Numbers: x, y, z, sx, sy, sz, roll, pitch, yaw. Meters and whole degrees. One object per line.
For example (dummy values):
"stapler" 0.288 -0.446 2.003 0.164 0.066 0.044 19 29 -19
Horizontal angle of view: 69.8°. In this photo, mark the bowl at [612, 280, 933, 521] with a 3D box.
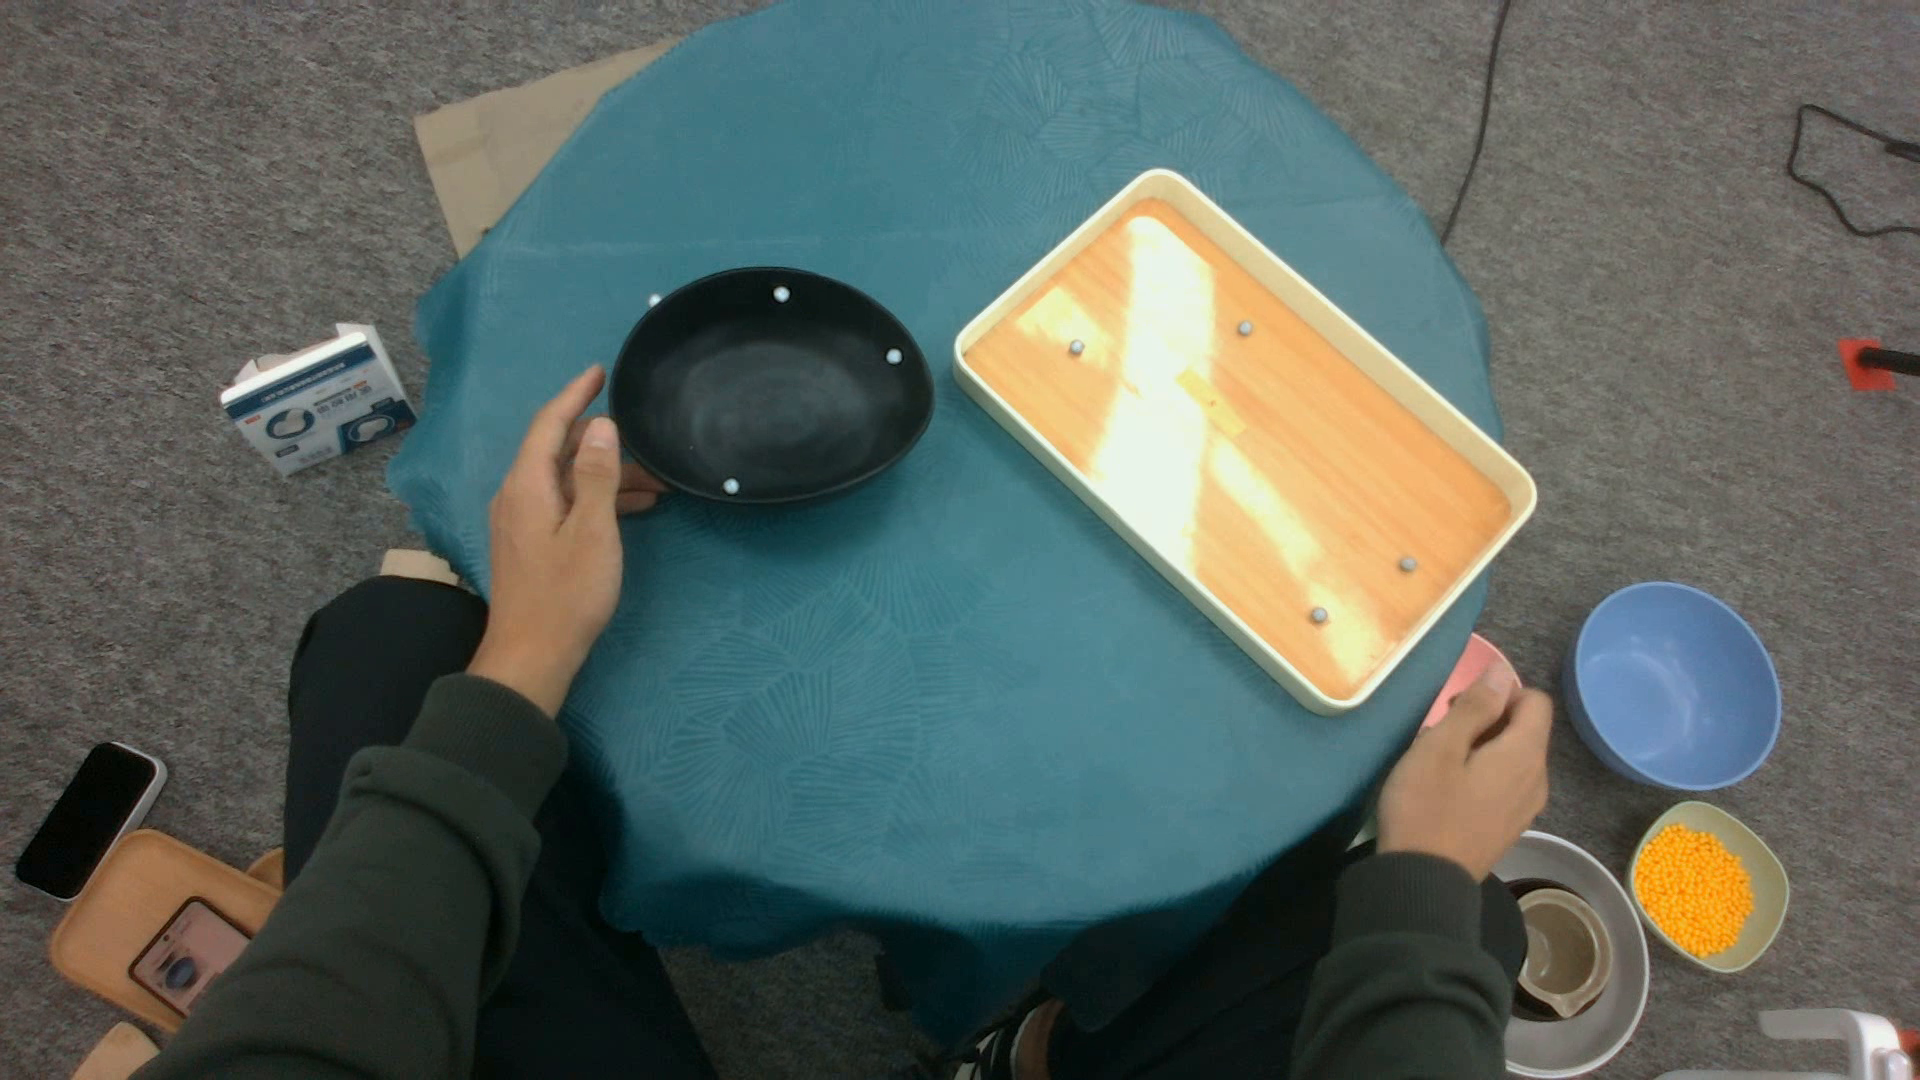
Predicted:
"bowl" -0.101 -0.069 0.757 0.170 0.066 0.137 -6 71 -9

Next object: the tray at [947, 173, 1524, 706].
"tray" 0.157 -0.066 0.799 0.300 0.027 0.192 42 71 11
